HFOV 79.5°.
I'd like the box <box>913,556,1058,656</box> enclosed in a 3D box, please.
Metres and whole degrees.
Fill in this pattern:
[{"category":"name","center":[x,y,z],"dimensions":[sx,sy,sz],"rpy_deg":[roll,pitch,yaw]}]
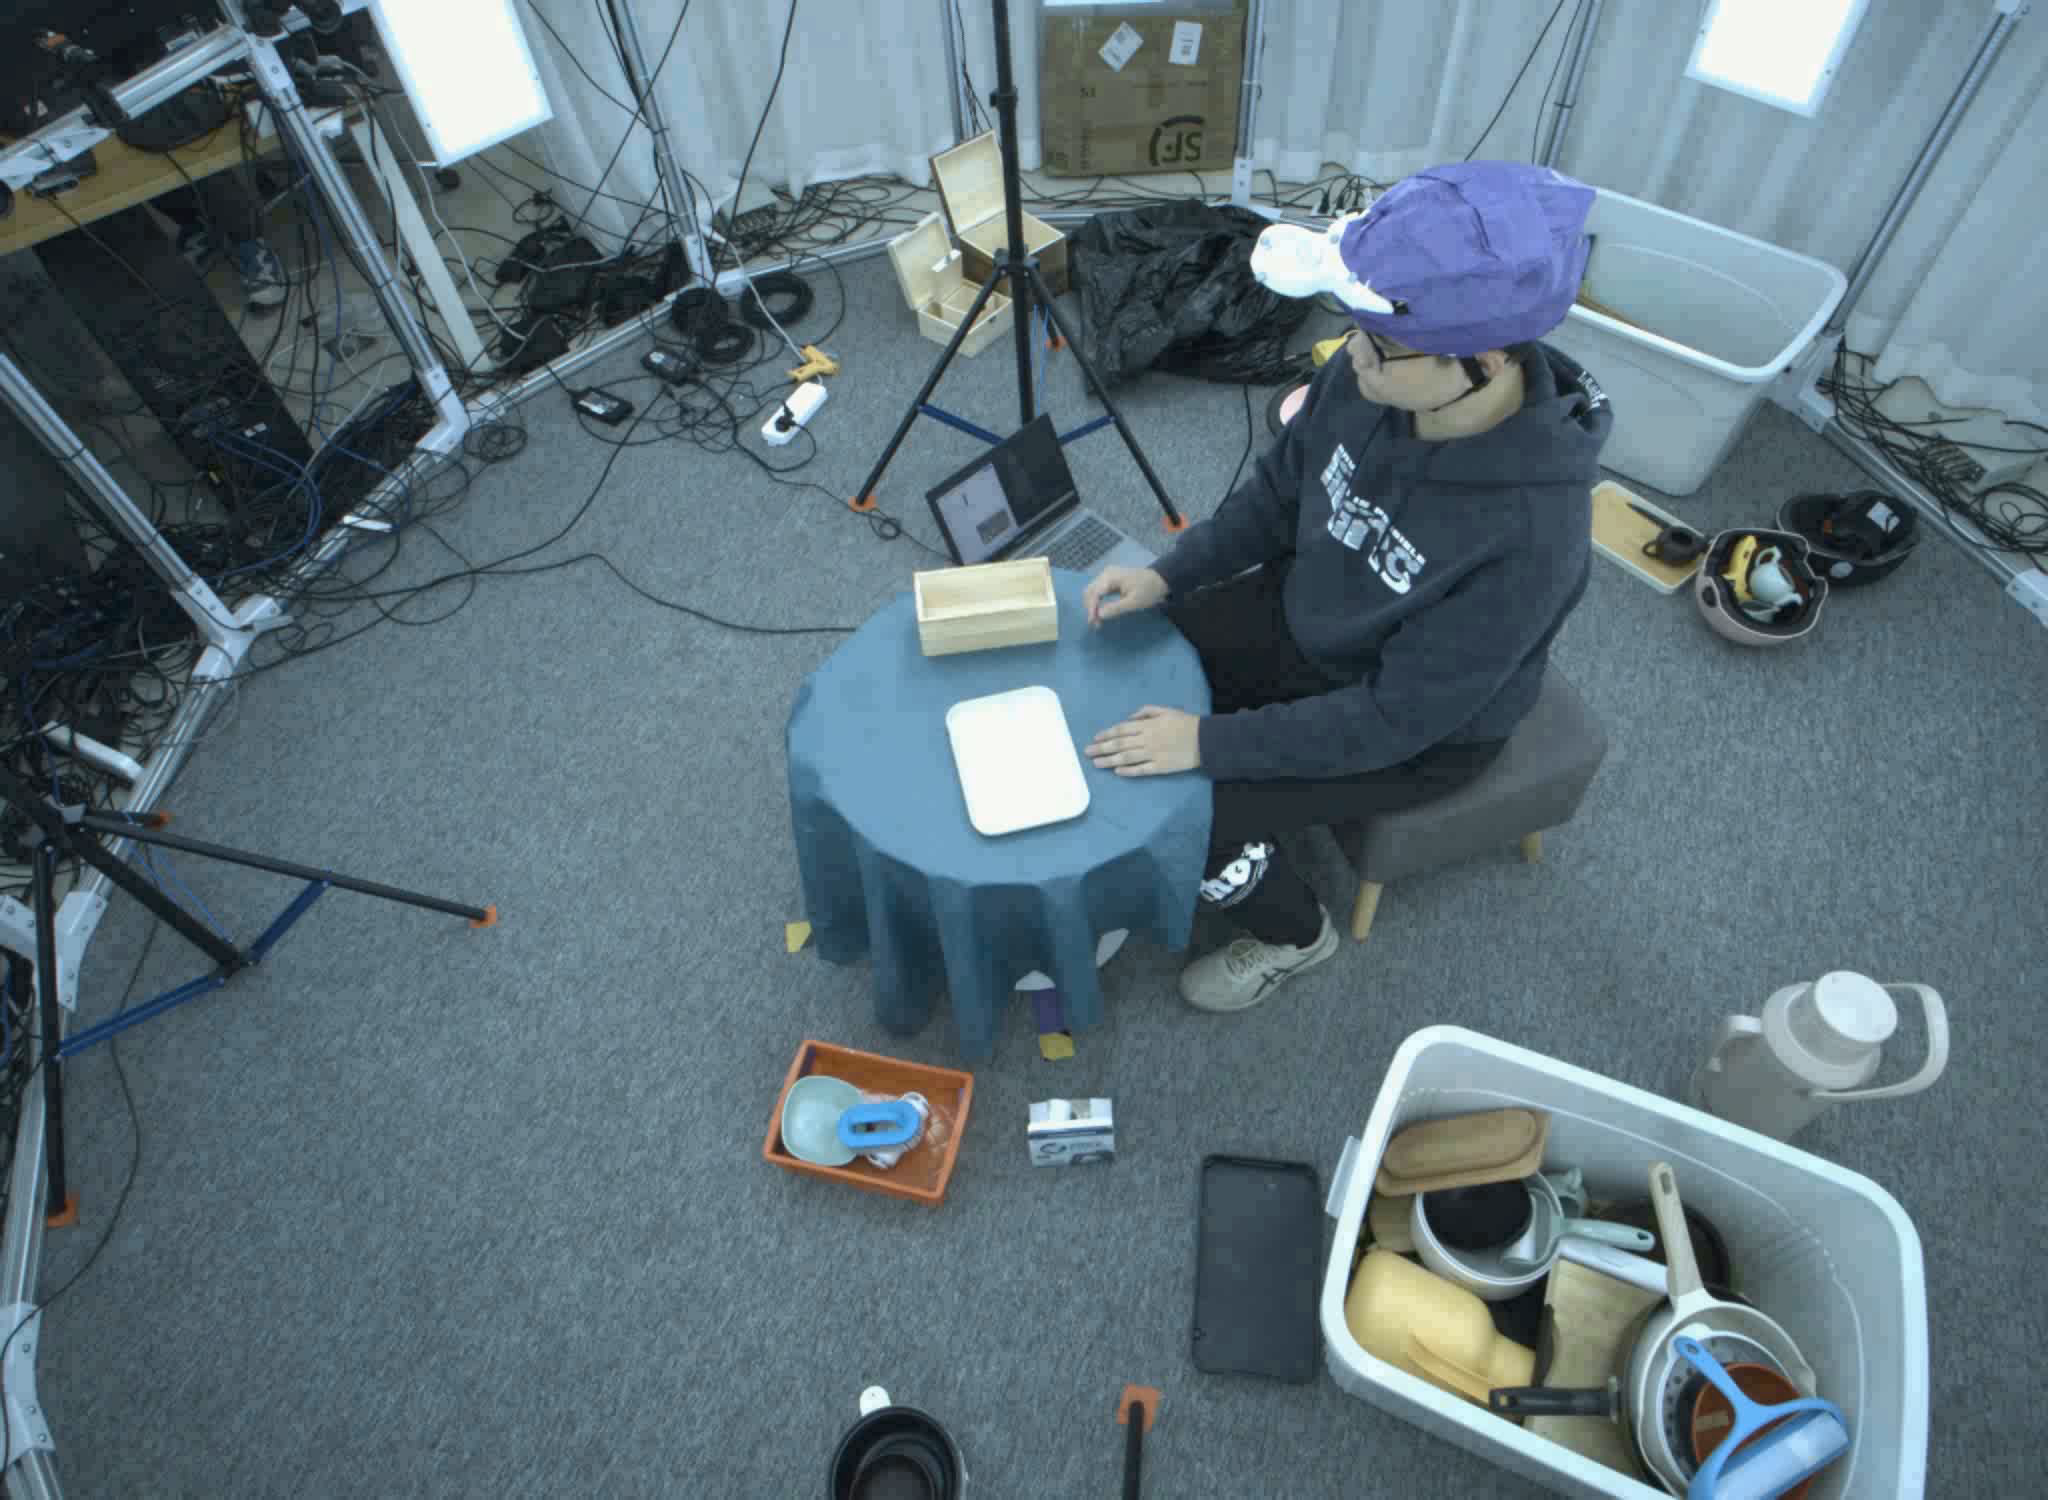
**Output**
[{"category":"box","center":[-0.060,-0.223,1.897],"dimensions":[0.212,0.081,0.106],"rpy_deg":[-8,55,-4]}]

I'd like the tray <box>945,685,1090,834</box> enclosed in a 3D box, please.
[{"category":"tray","center":[-0.012,0.013,1.769],"dimensions":[0.172,0.017,0.236],"rpy_deg":[-12,55,-8]}]
